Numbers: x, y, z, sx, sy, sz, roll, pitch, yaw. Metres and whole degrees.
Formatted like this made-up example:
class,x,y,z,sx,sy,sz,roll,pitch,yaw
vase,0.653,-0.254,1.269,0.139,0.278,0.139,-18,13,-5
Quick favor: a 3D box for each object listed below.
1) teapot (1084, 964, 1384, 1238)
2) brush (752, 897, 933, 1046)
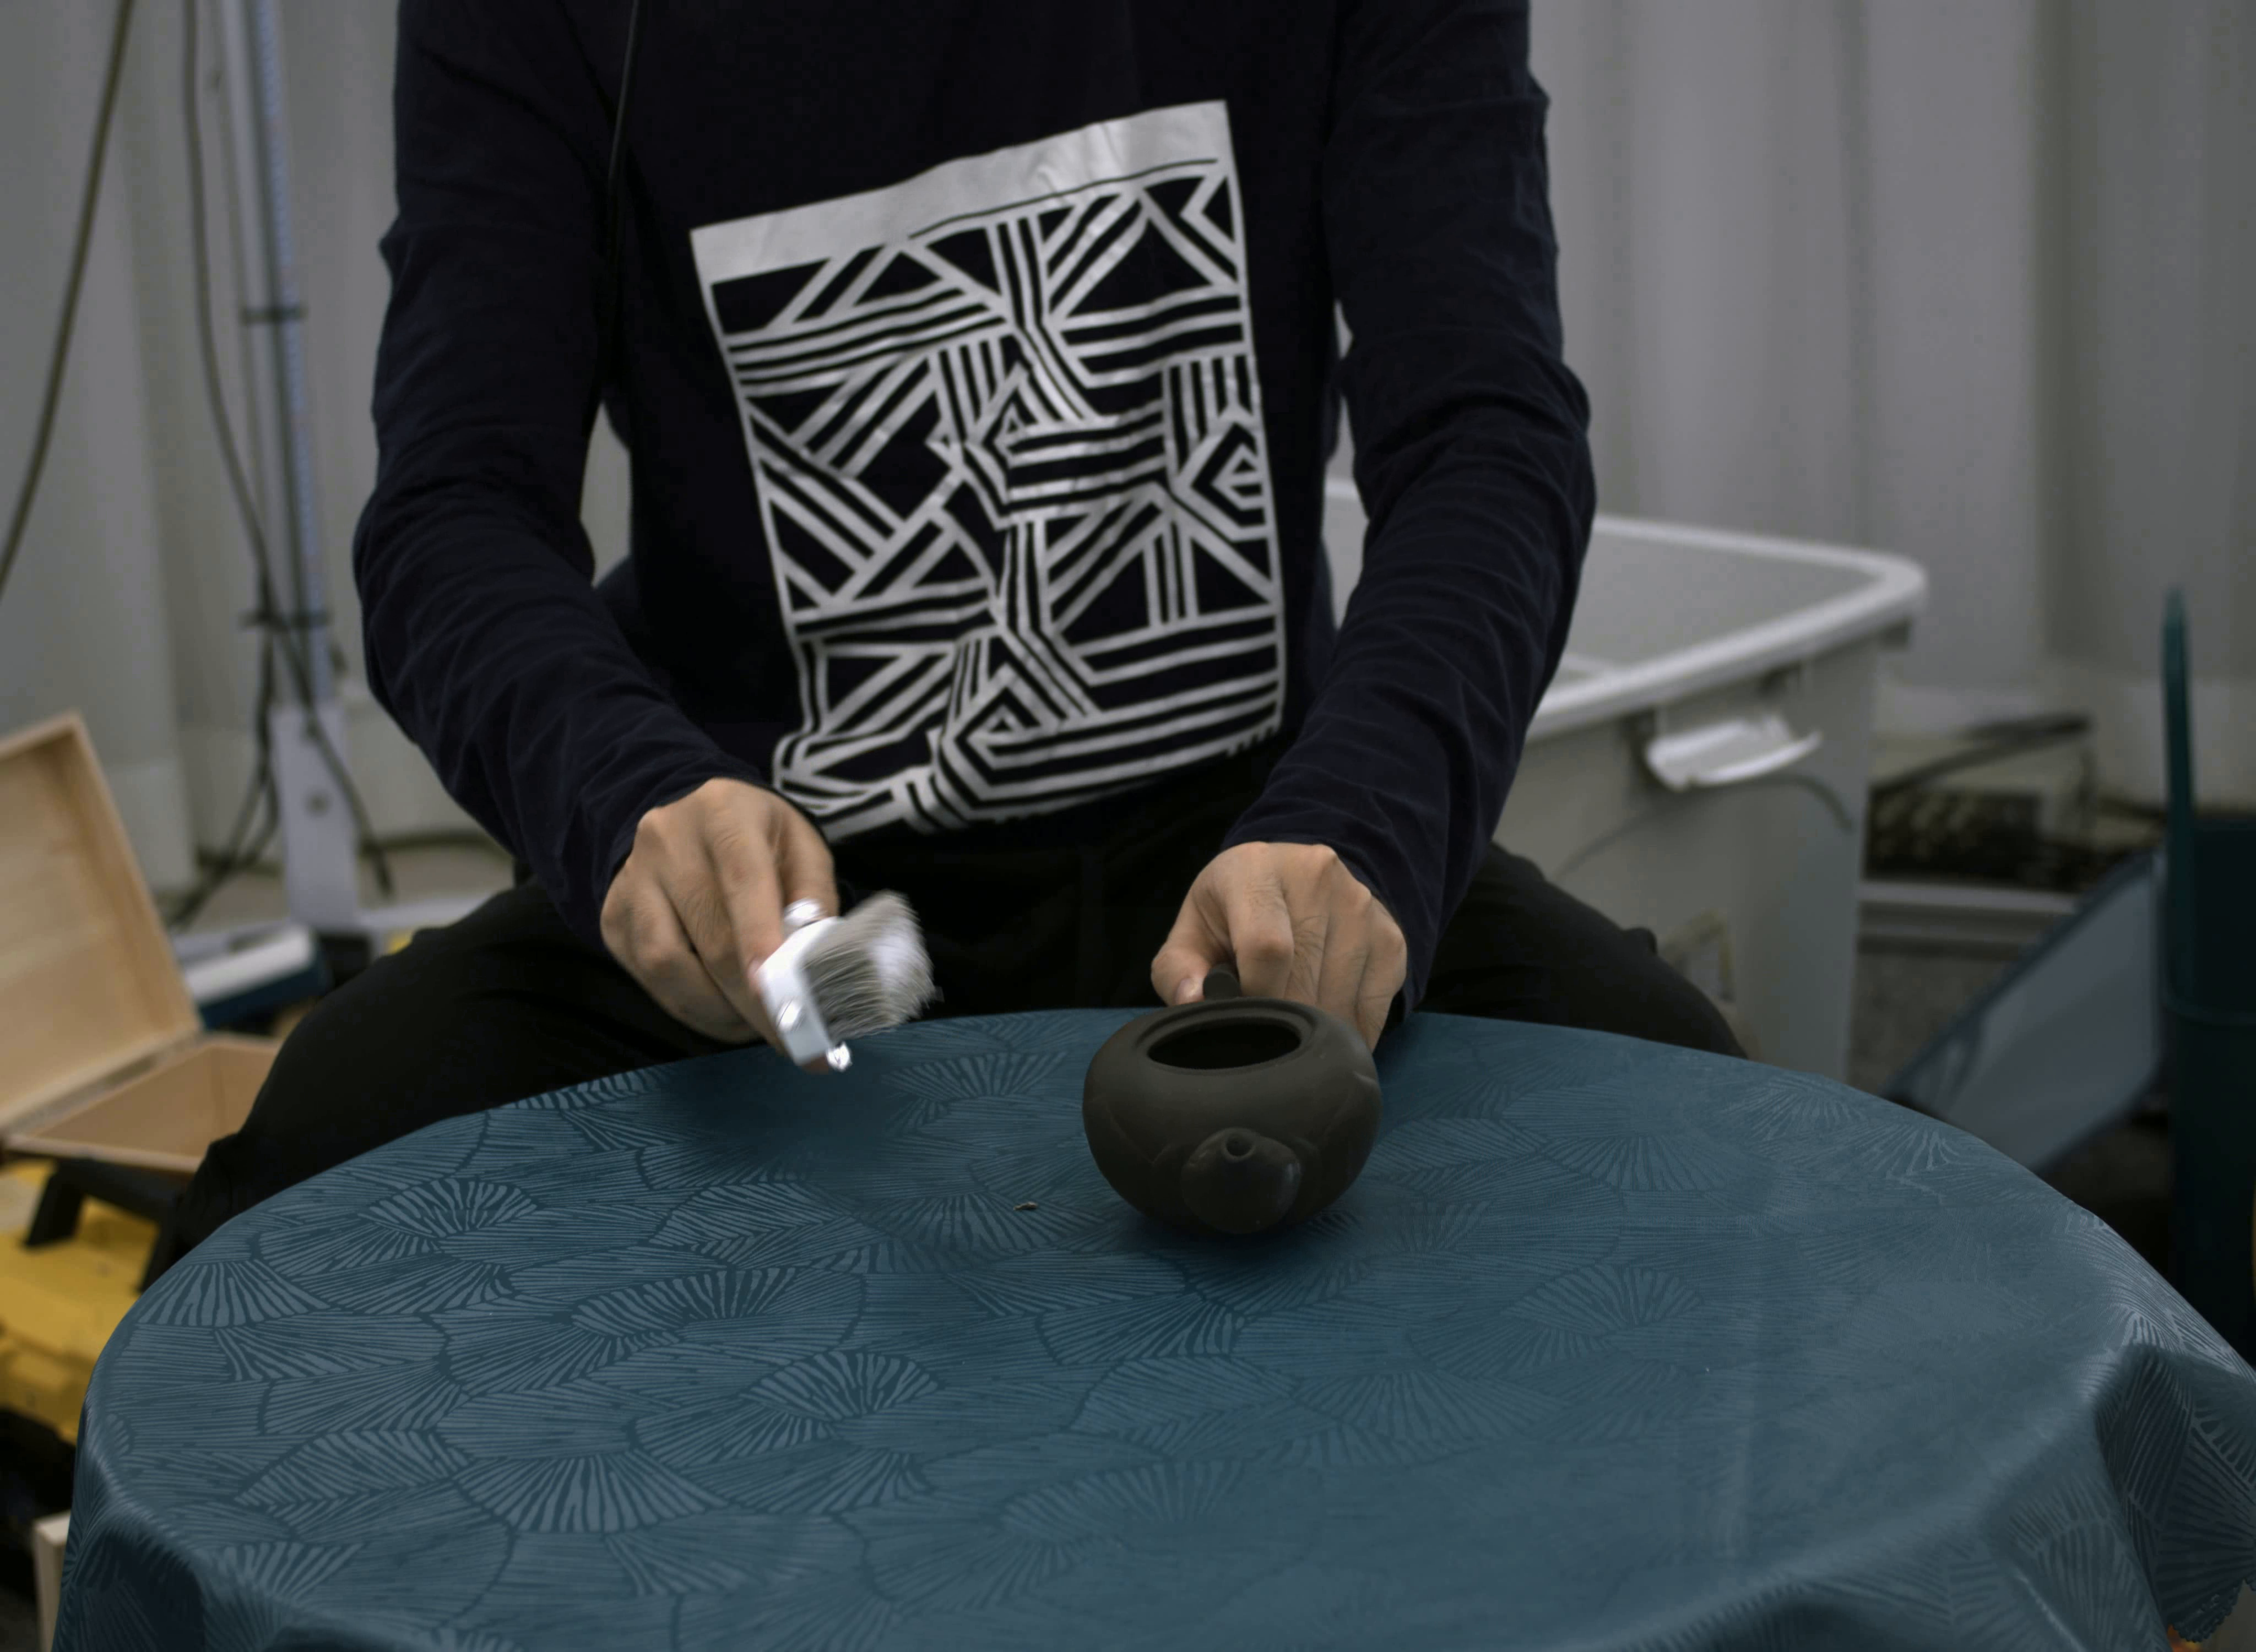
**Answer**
class,x,y,z,sx,sy,sz,roll,pitch,yaw
teapot,0.033,0.087,1.683,0.092,0.064,0.155,-4,21,2
brush,-0.092,0.042,1.750,0.050,0.034,0.244,-19,3,-5
